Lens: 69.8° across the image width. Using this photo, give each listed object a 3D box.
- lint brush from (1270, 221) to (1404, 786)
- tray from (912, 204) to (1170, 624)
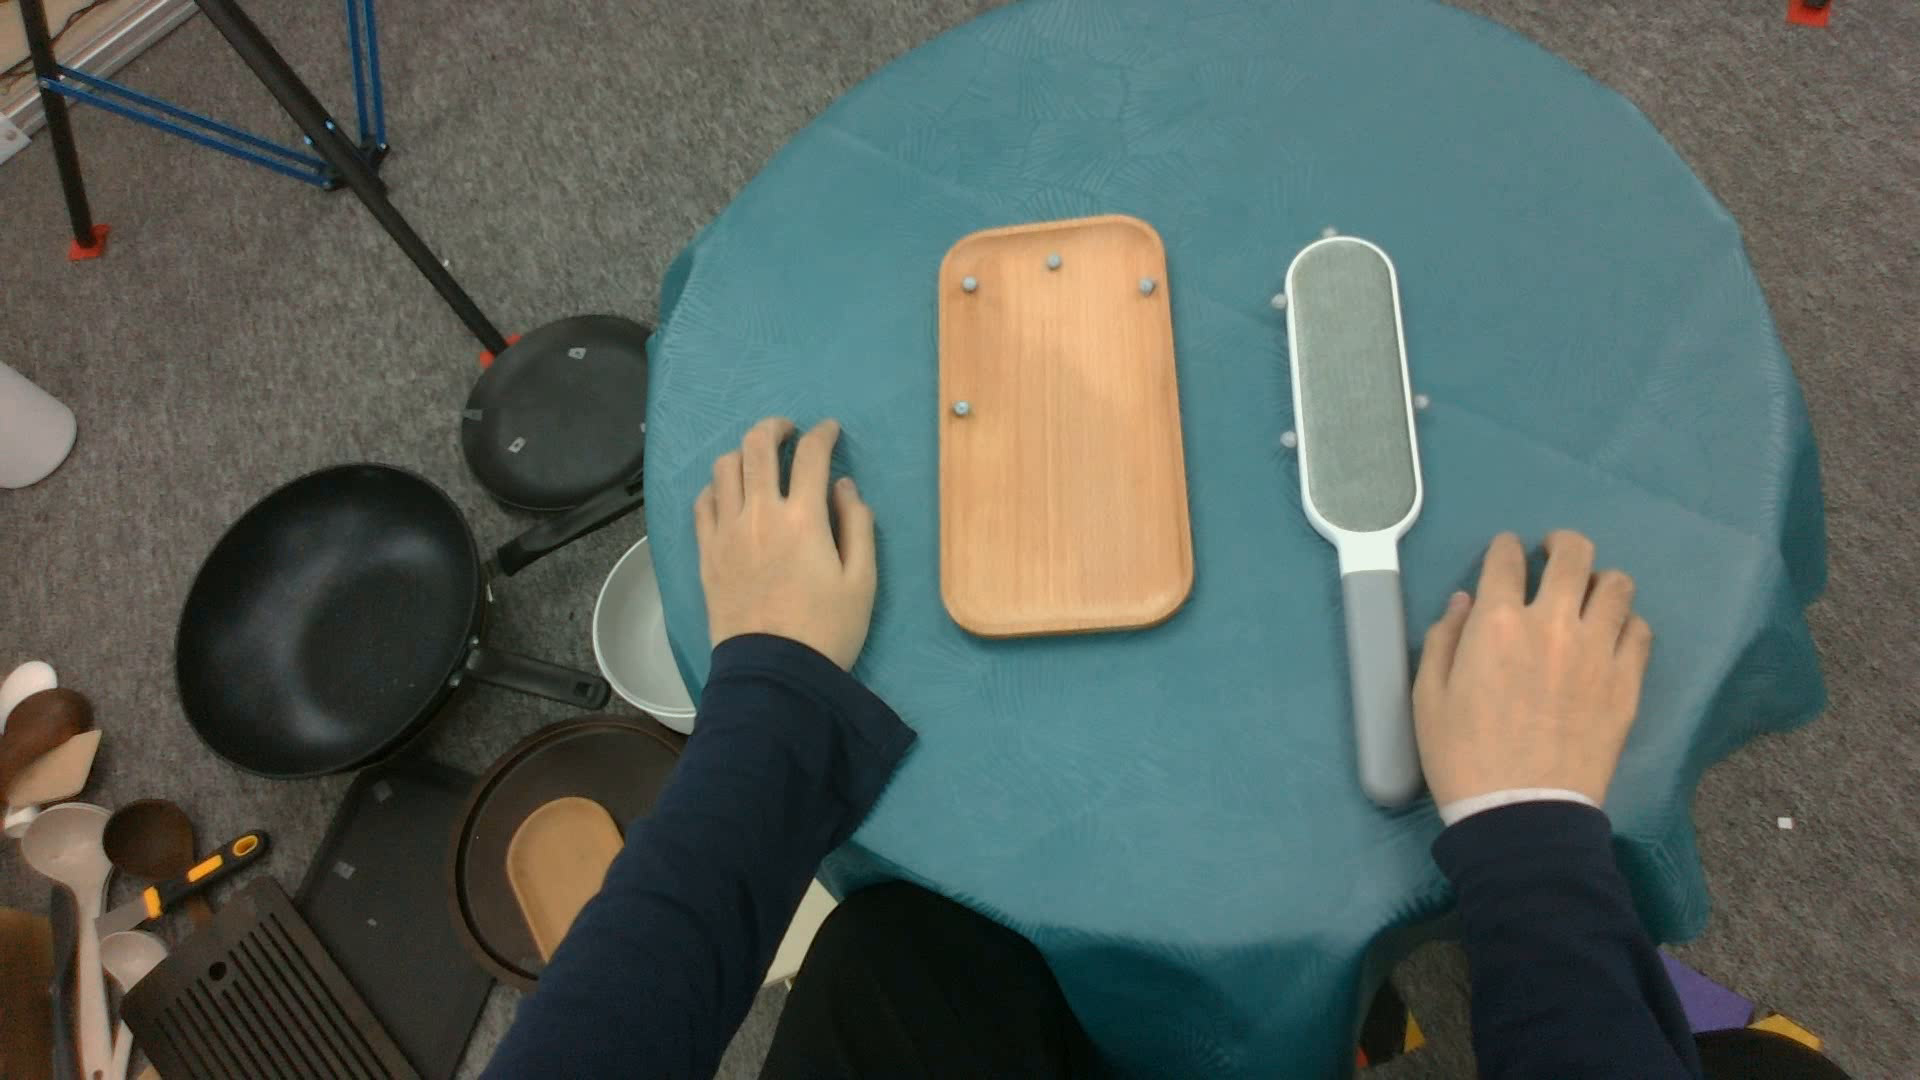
[{"bbox_3d":[0.188,-0.031,0.679,0.060,0.021,0.310,0,64,4],"label":"lint brush"},{"bbox_3d":[0.042,-0.072,0.730,0.130,0.023,0.251,-4,64,10],"label":"tray"}]
